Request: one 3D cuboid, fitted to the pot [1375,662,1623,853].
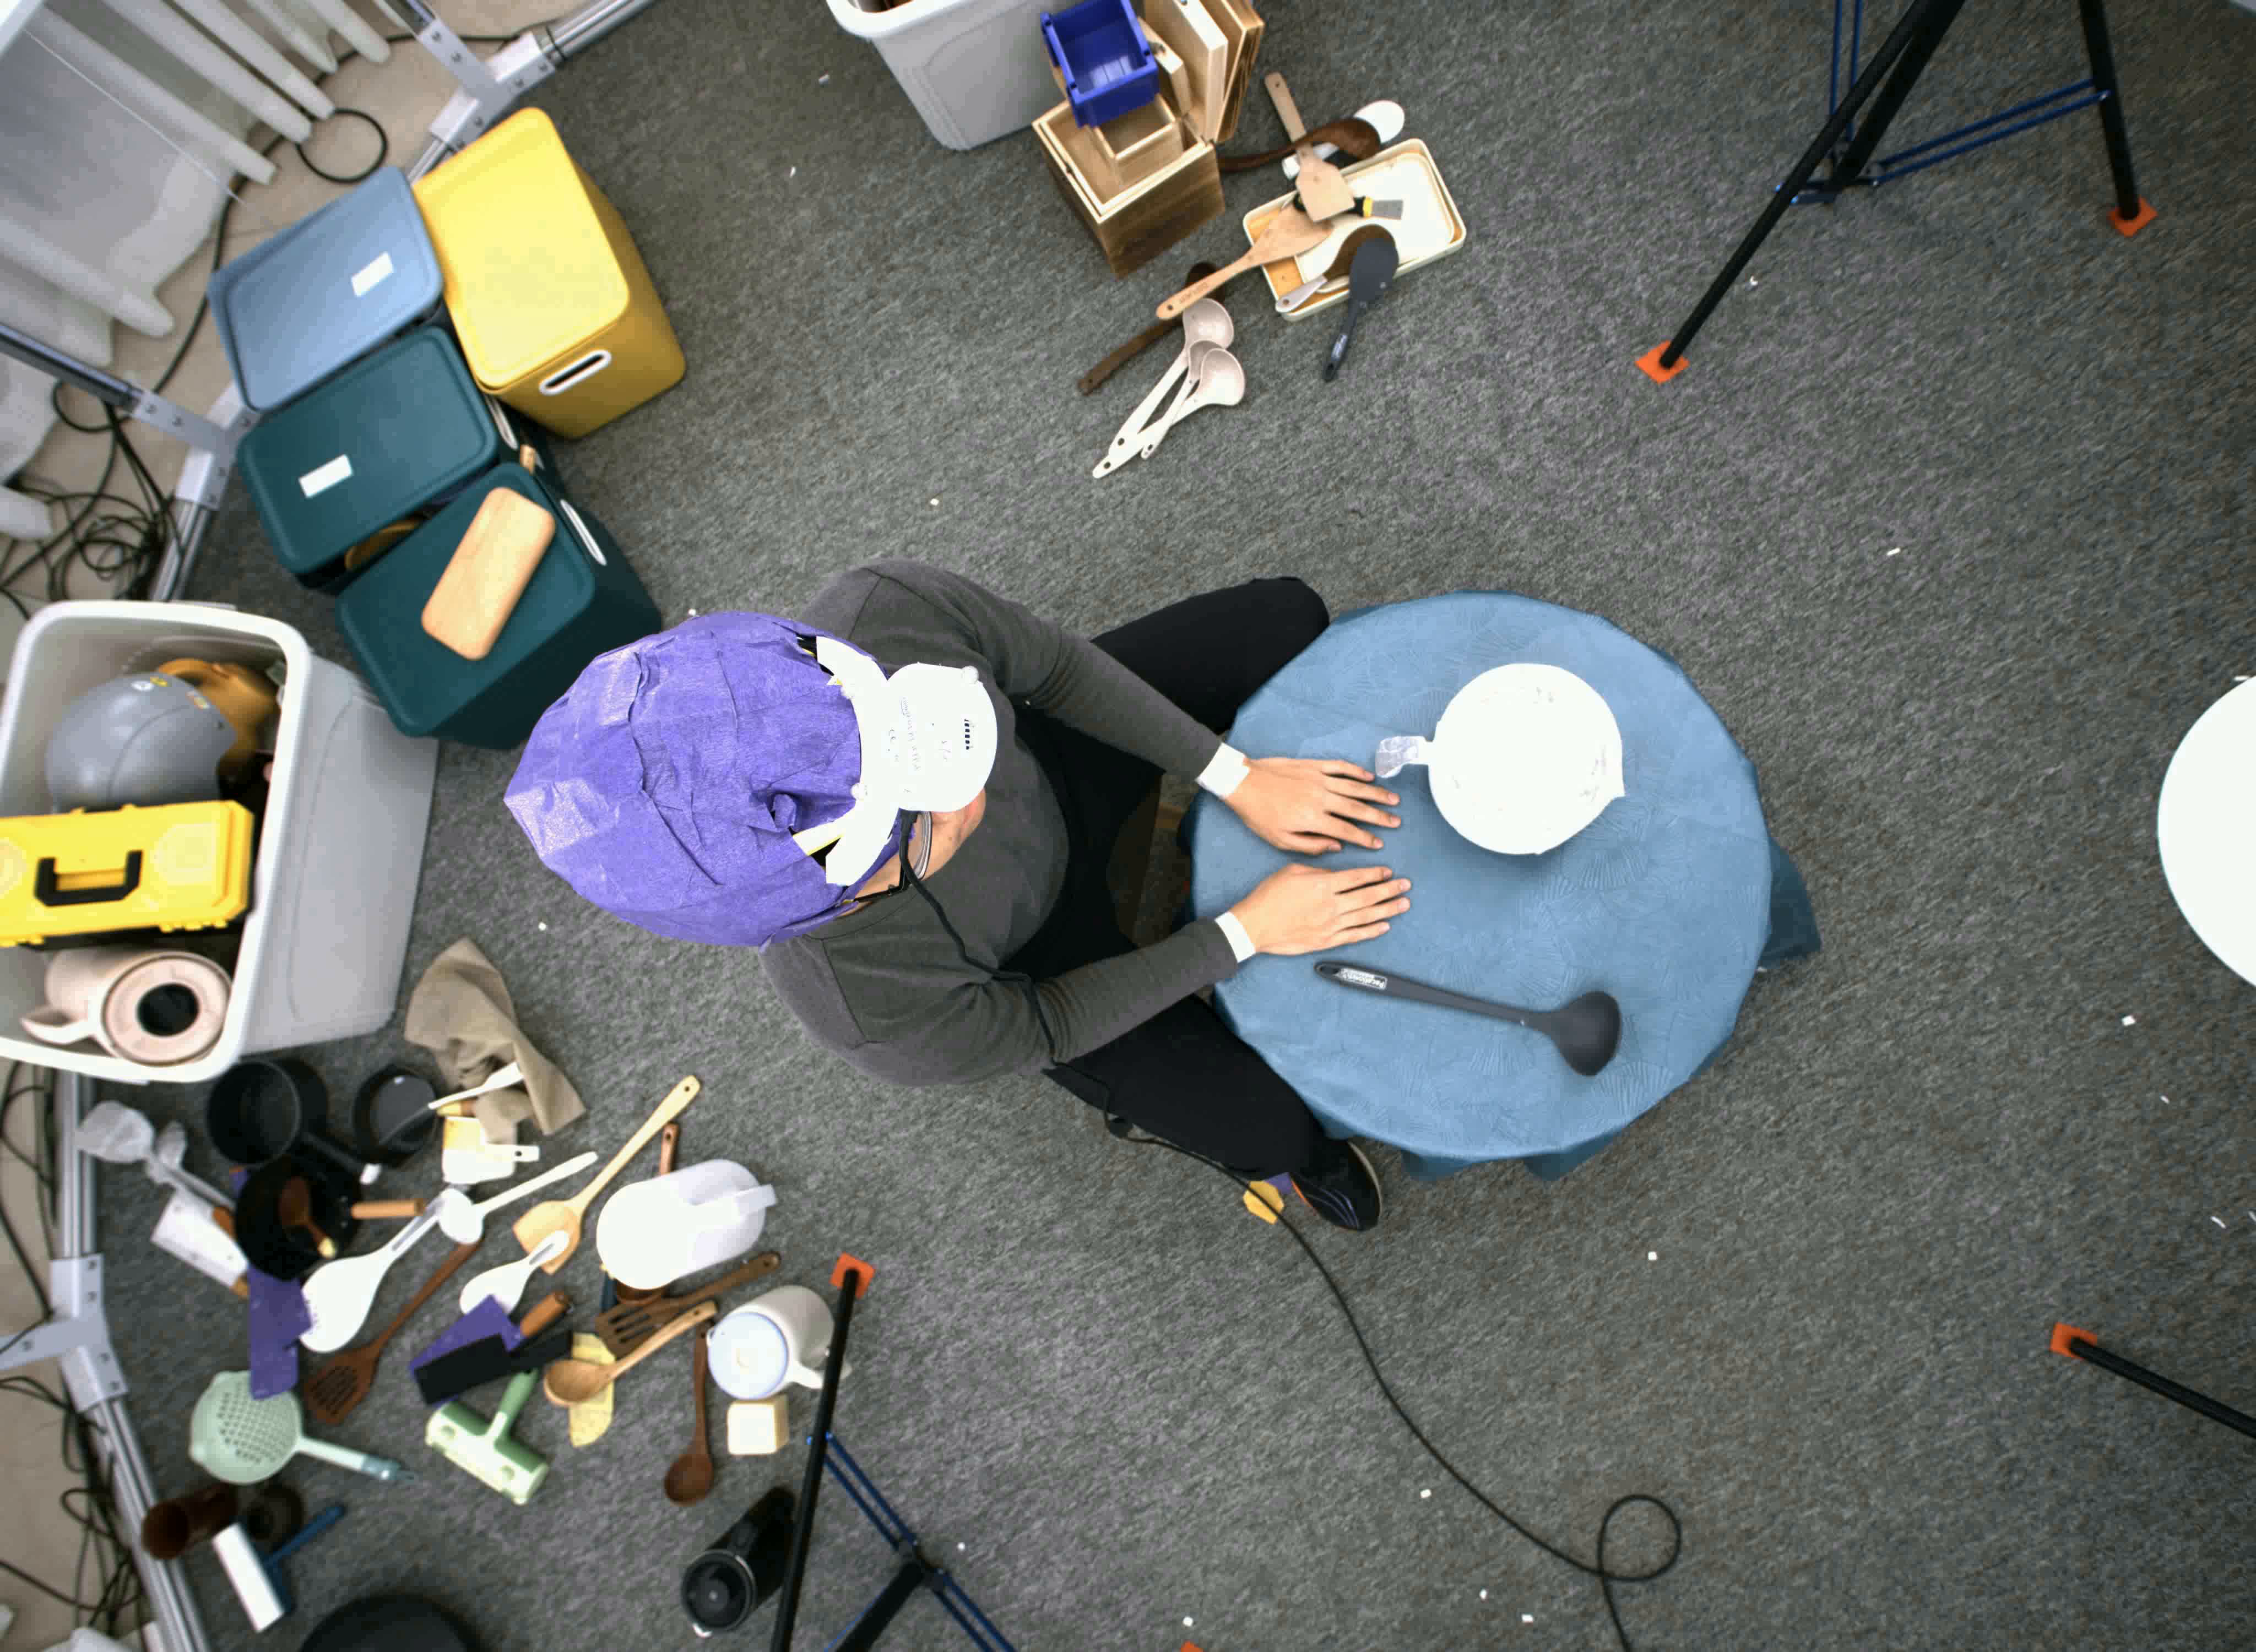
[{"bbox_3d":[0.366,-0.067,1.379,0.234,0.137,0.178,4,86,11],"label":"pot"}]

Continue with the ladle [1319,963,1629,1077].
[{"bbox_3d":[0.349,0.179,1.407,0.314,0.064,0.085,13,83,11],"label":"ladle"}]
